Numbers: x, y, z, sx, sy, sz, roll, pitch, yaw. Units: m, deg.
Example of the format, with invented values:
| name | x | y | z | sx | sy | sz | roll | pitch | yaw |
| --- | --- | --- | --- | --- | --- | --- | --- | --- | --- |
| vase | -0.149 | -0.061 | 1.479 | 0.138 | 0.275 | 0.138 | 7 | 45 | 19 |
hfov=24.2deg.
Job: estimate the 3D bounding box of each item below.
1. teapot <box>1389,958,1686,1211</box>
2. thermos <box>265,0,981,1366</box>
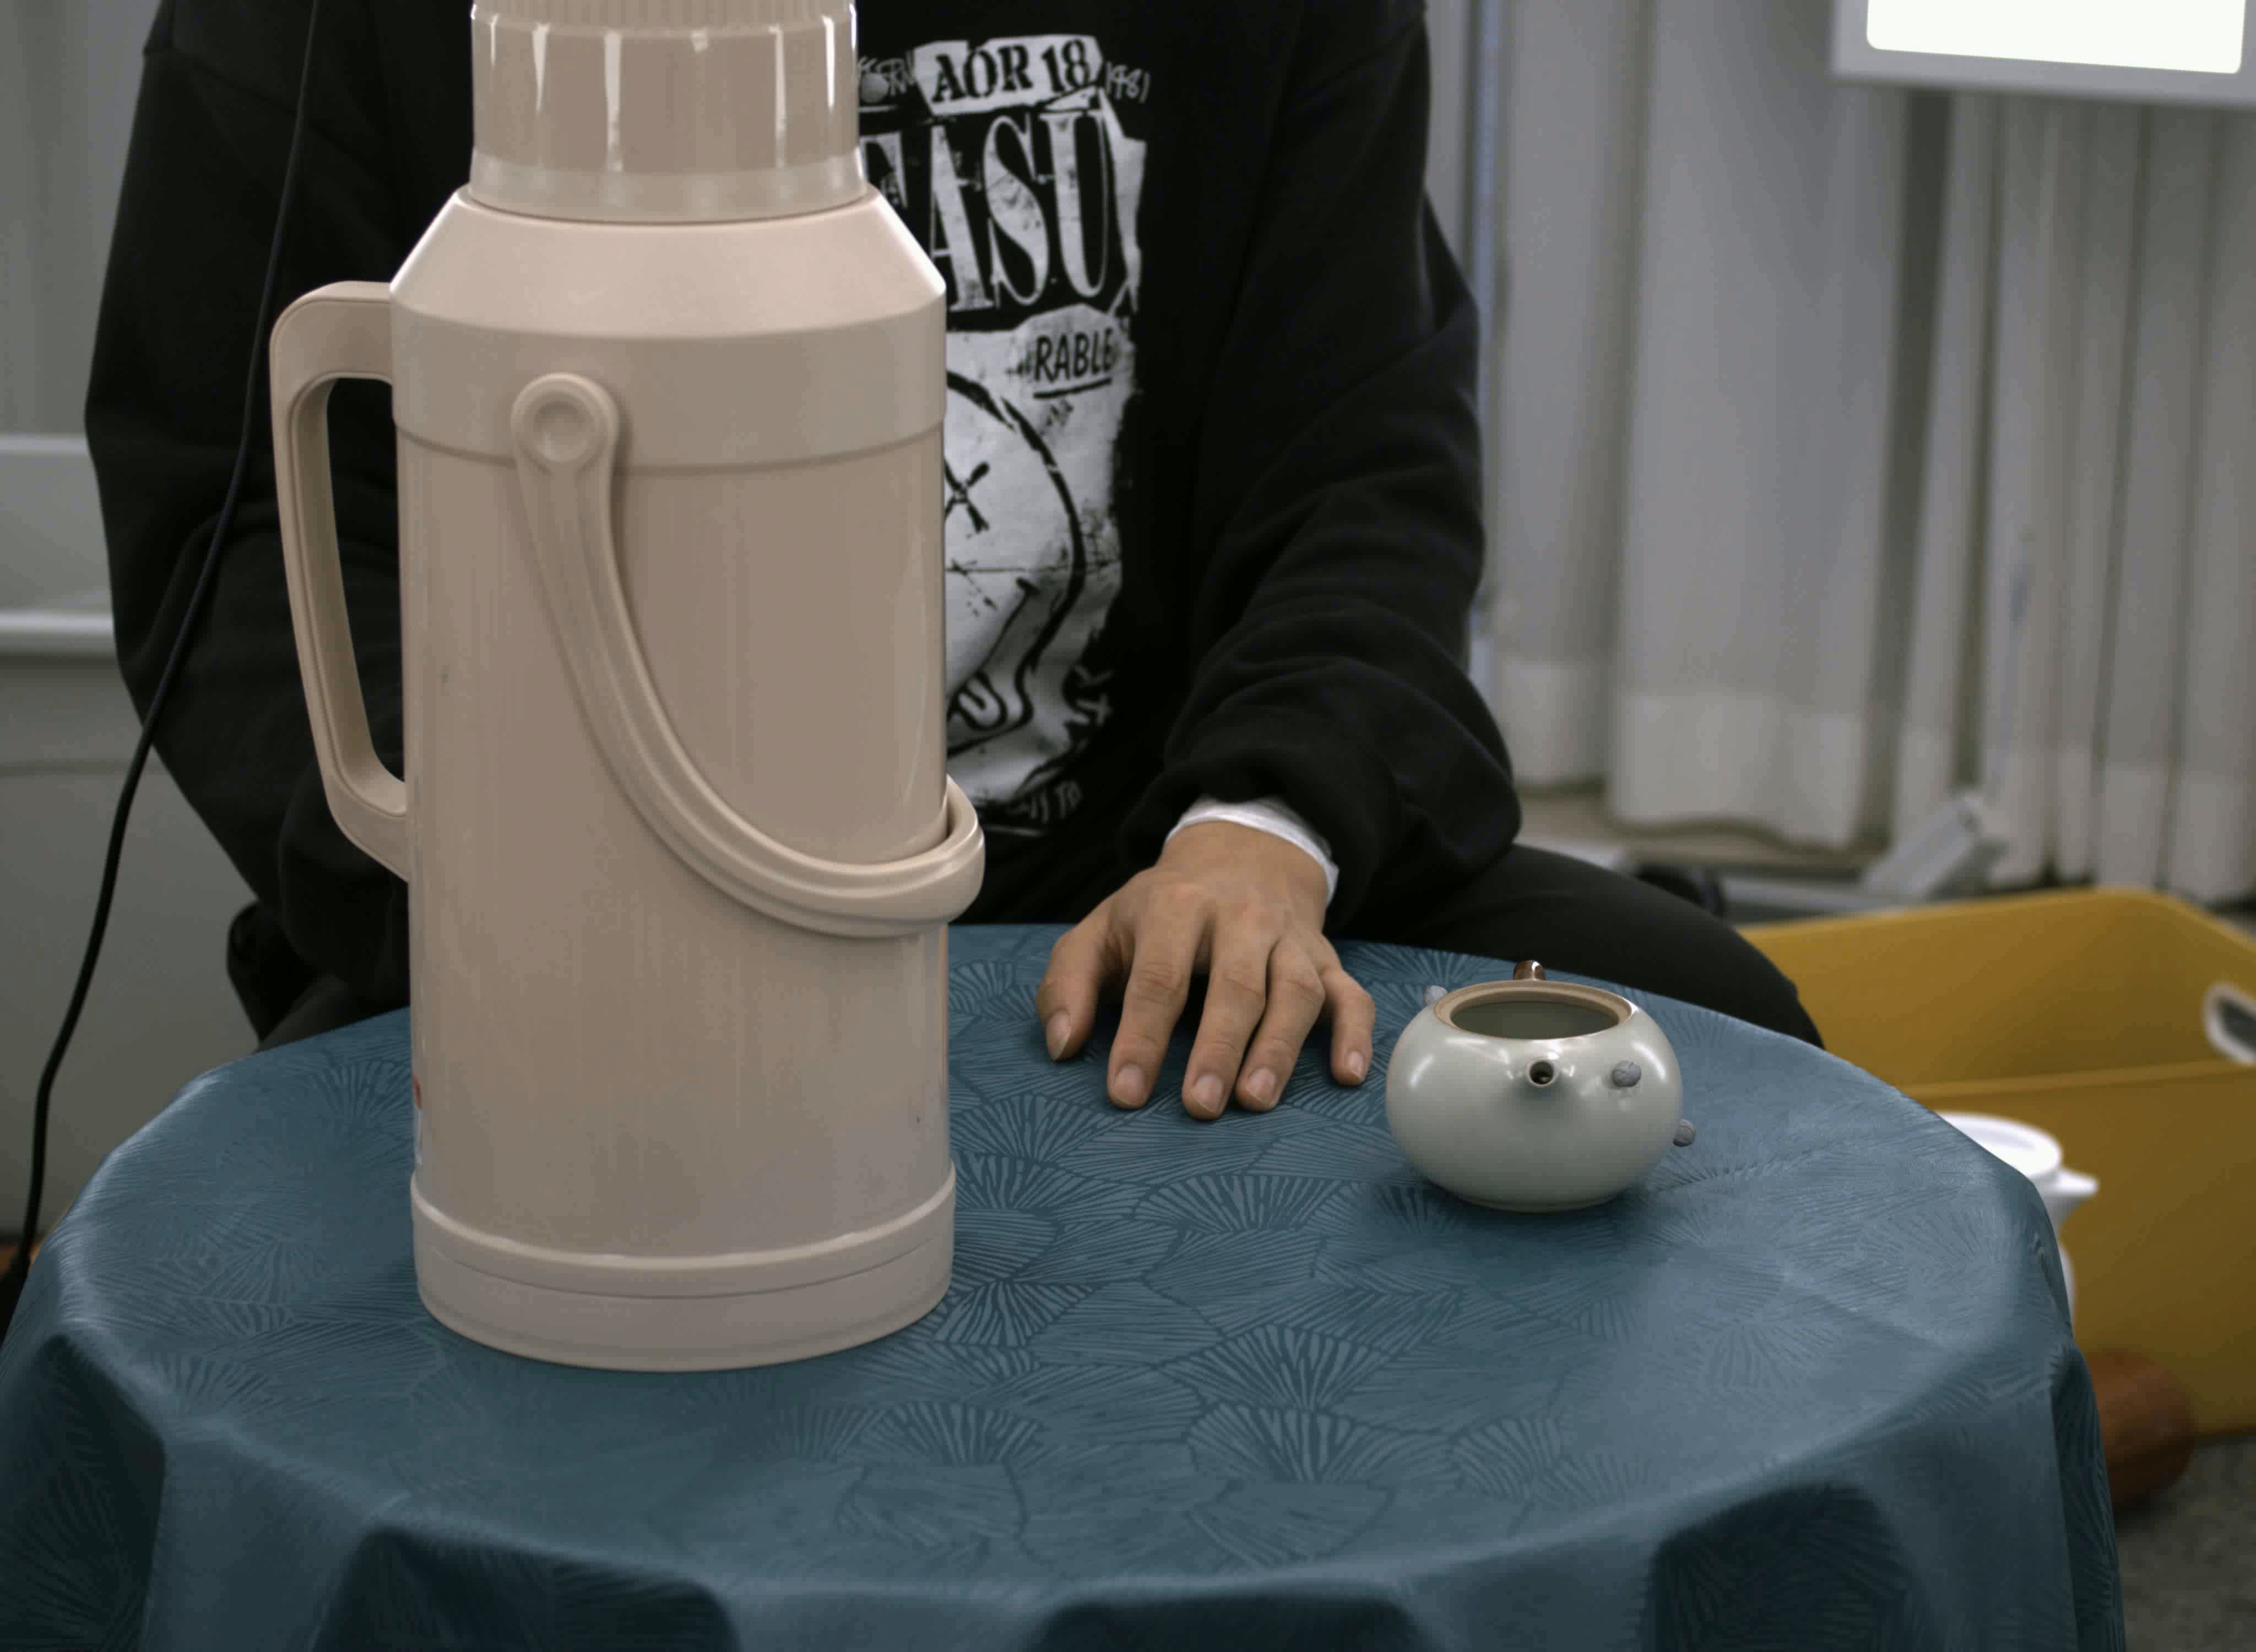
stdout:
| name | x | y | z | sx | sy | sz | roll | pitch | yaw |
| --- | --- | --- | --- | --- | --- | --- | --- | --- | --- |
| teapot | 0.126 | 0.080 | 1.632 | 0.091 | 0.060 | 0.127 | -3 | 16 | 0 |
| thermos | -0.143 | -0.060 | 1.497 | 0.205 | 0.410 | 0.175 | 5 | 18 | 12 |
